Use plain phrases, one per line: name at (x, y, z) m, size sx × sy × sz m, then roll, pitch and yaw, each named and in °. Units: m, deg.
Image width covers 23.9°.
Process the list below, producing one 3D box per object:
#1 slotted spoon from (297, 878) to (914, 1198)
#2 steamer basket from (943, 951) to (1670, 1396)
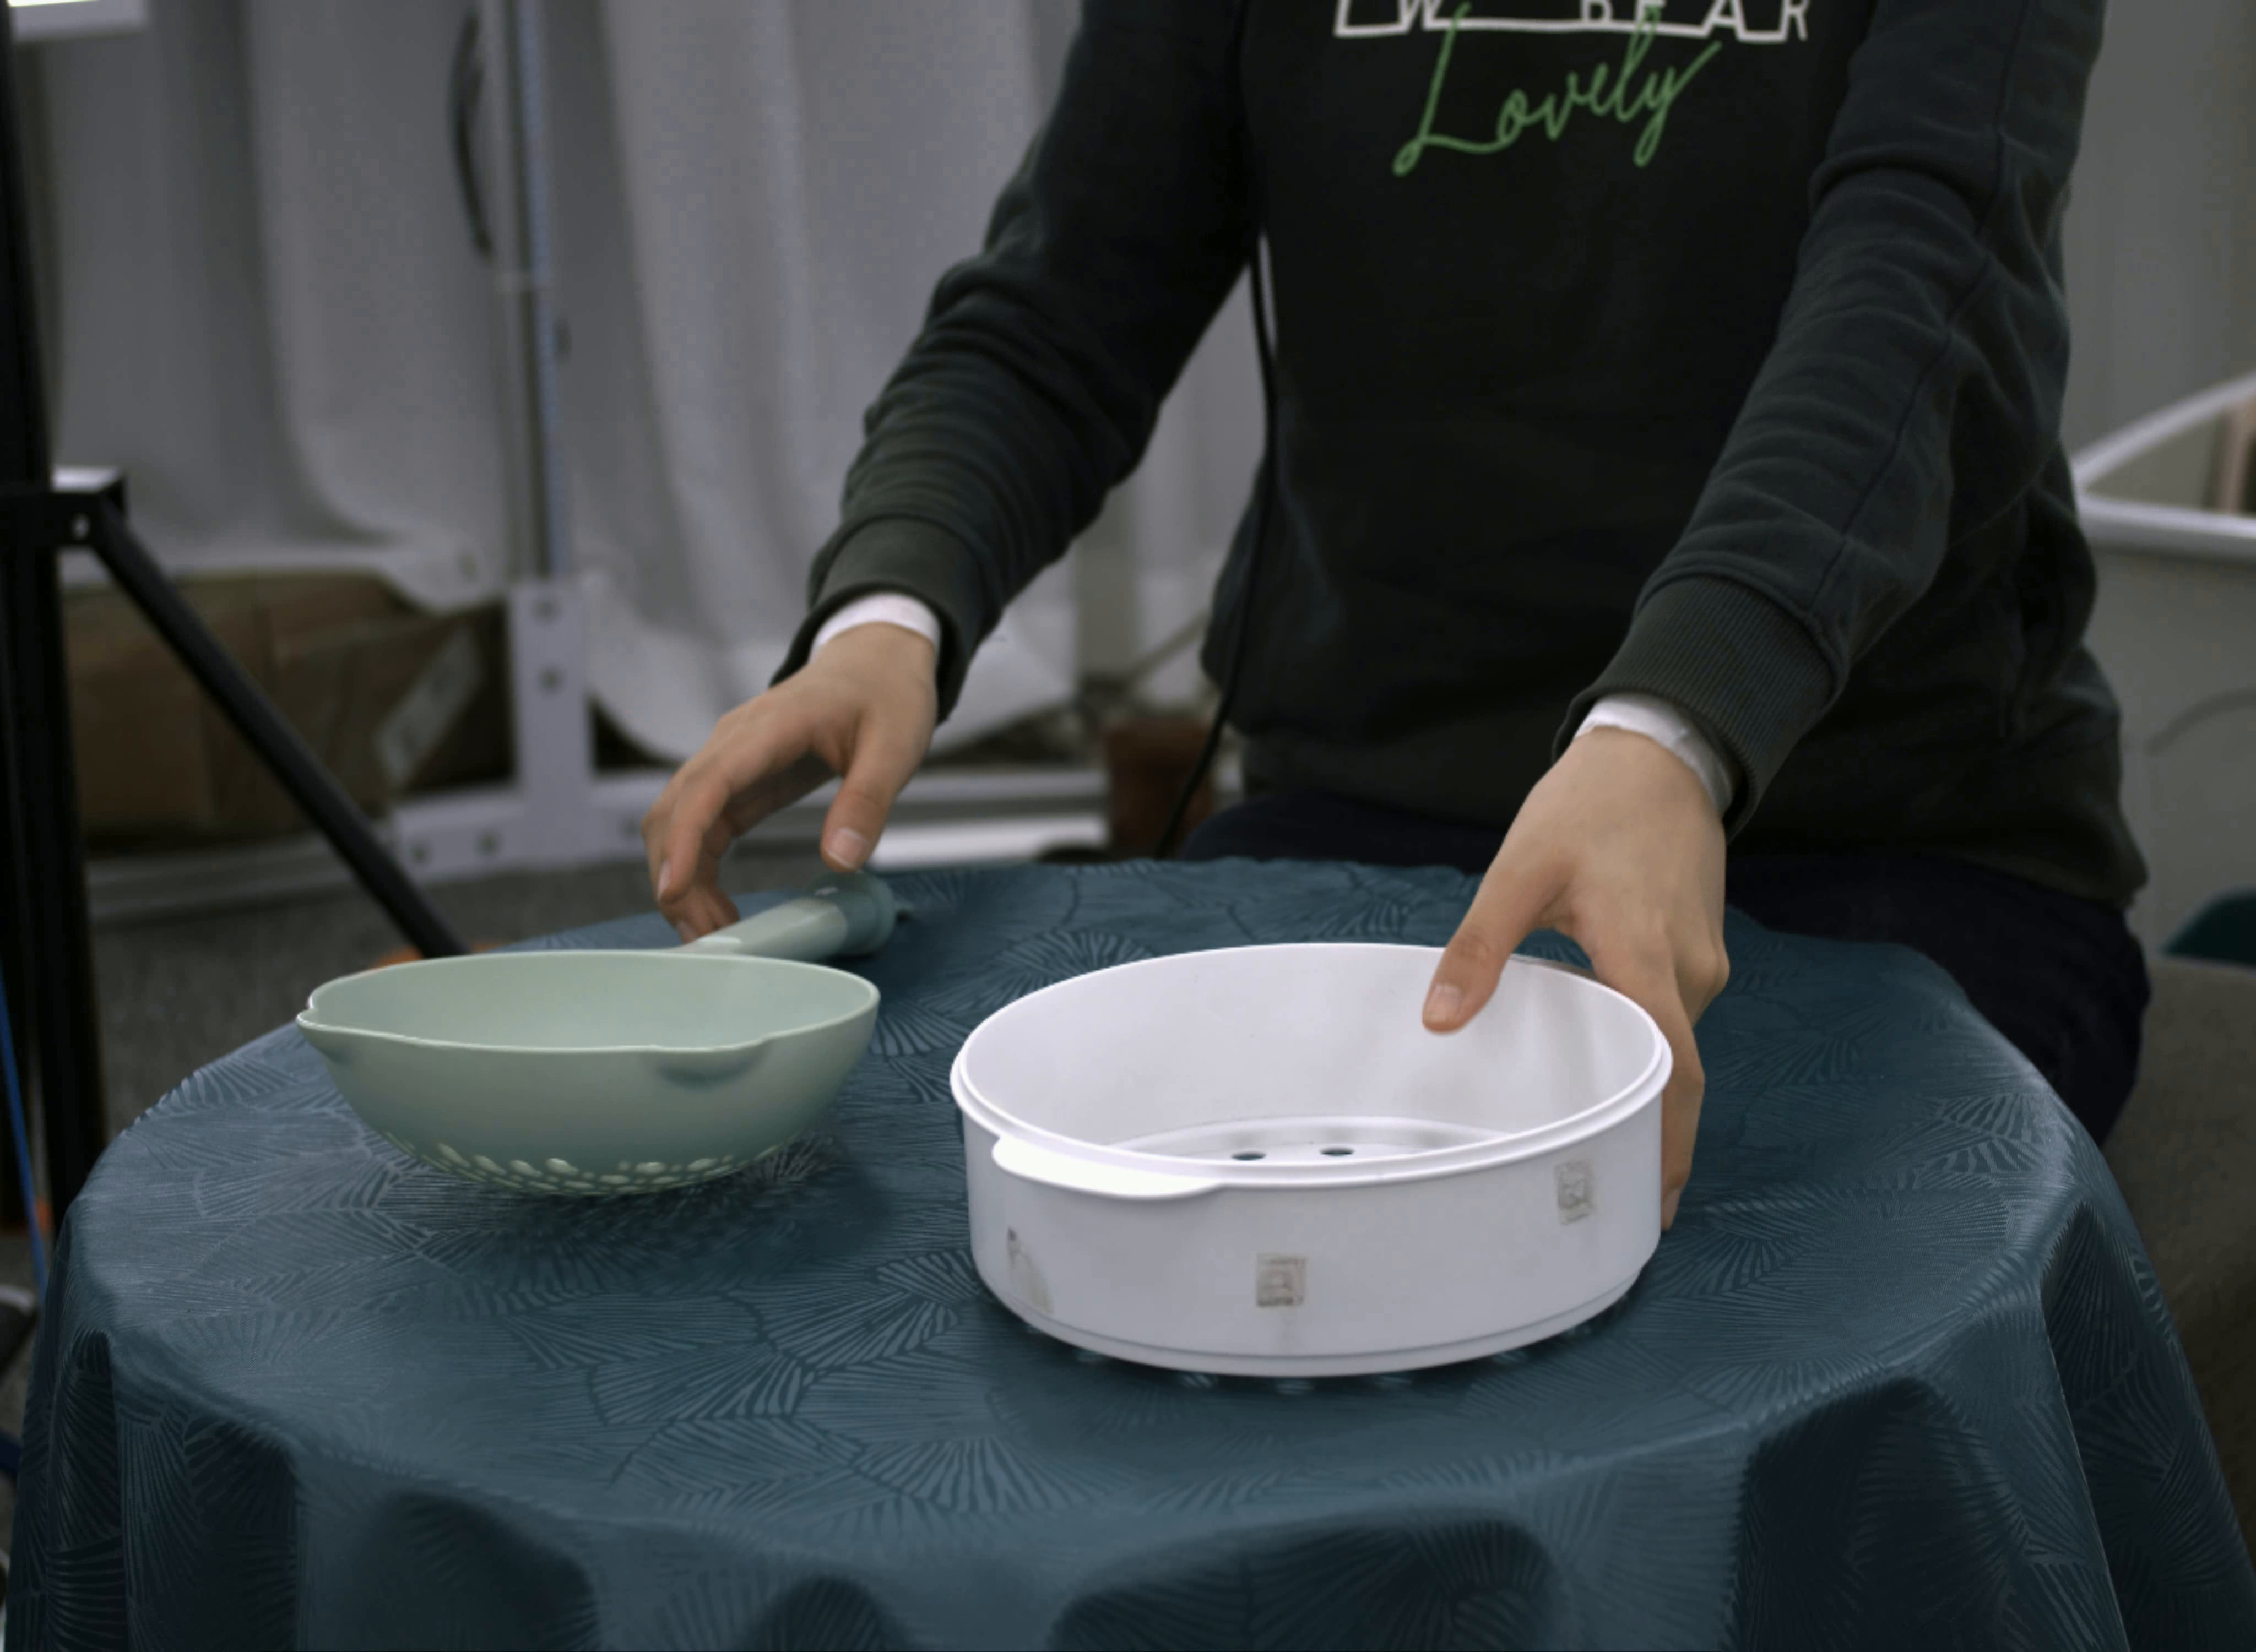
slotted spoon at (-0.131, 0.051, 1.669) m, size 0.171 × 0.075 × 0.355 m, roll 3°, pitch 16°, yaw 16°
steamer basket at (0.049, 0.096, 1.474) m, size 0.206 × 0.069 × 0.226 m, roll 10°, pitch 20°, yaw 35°
